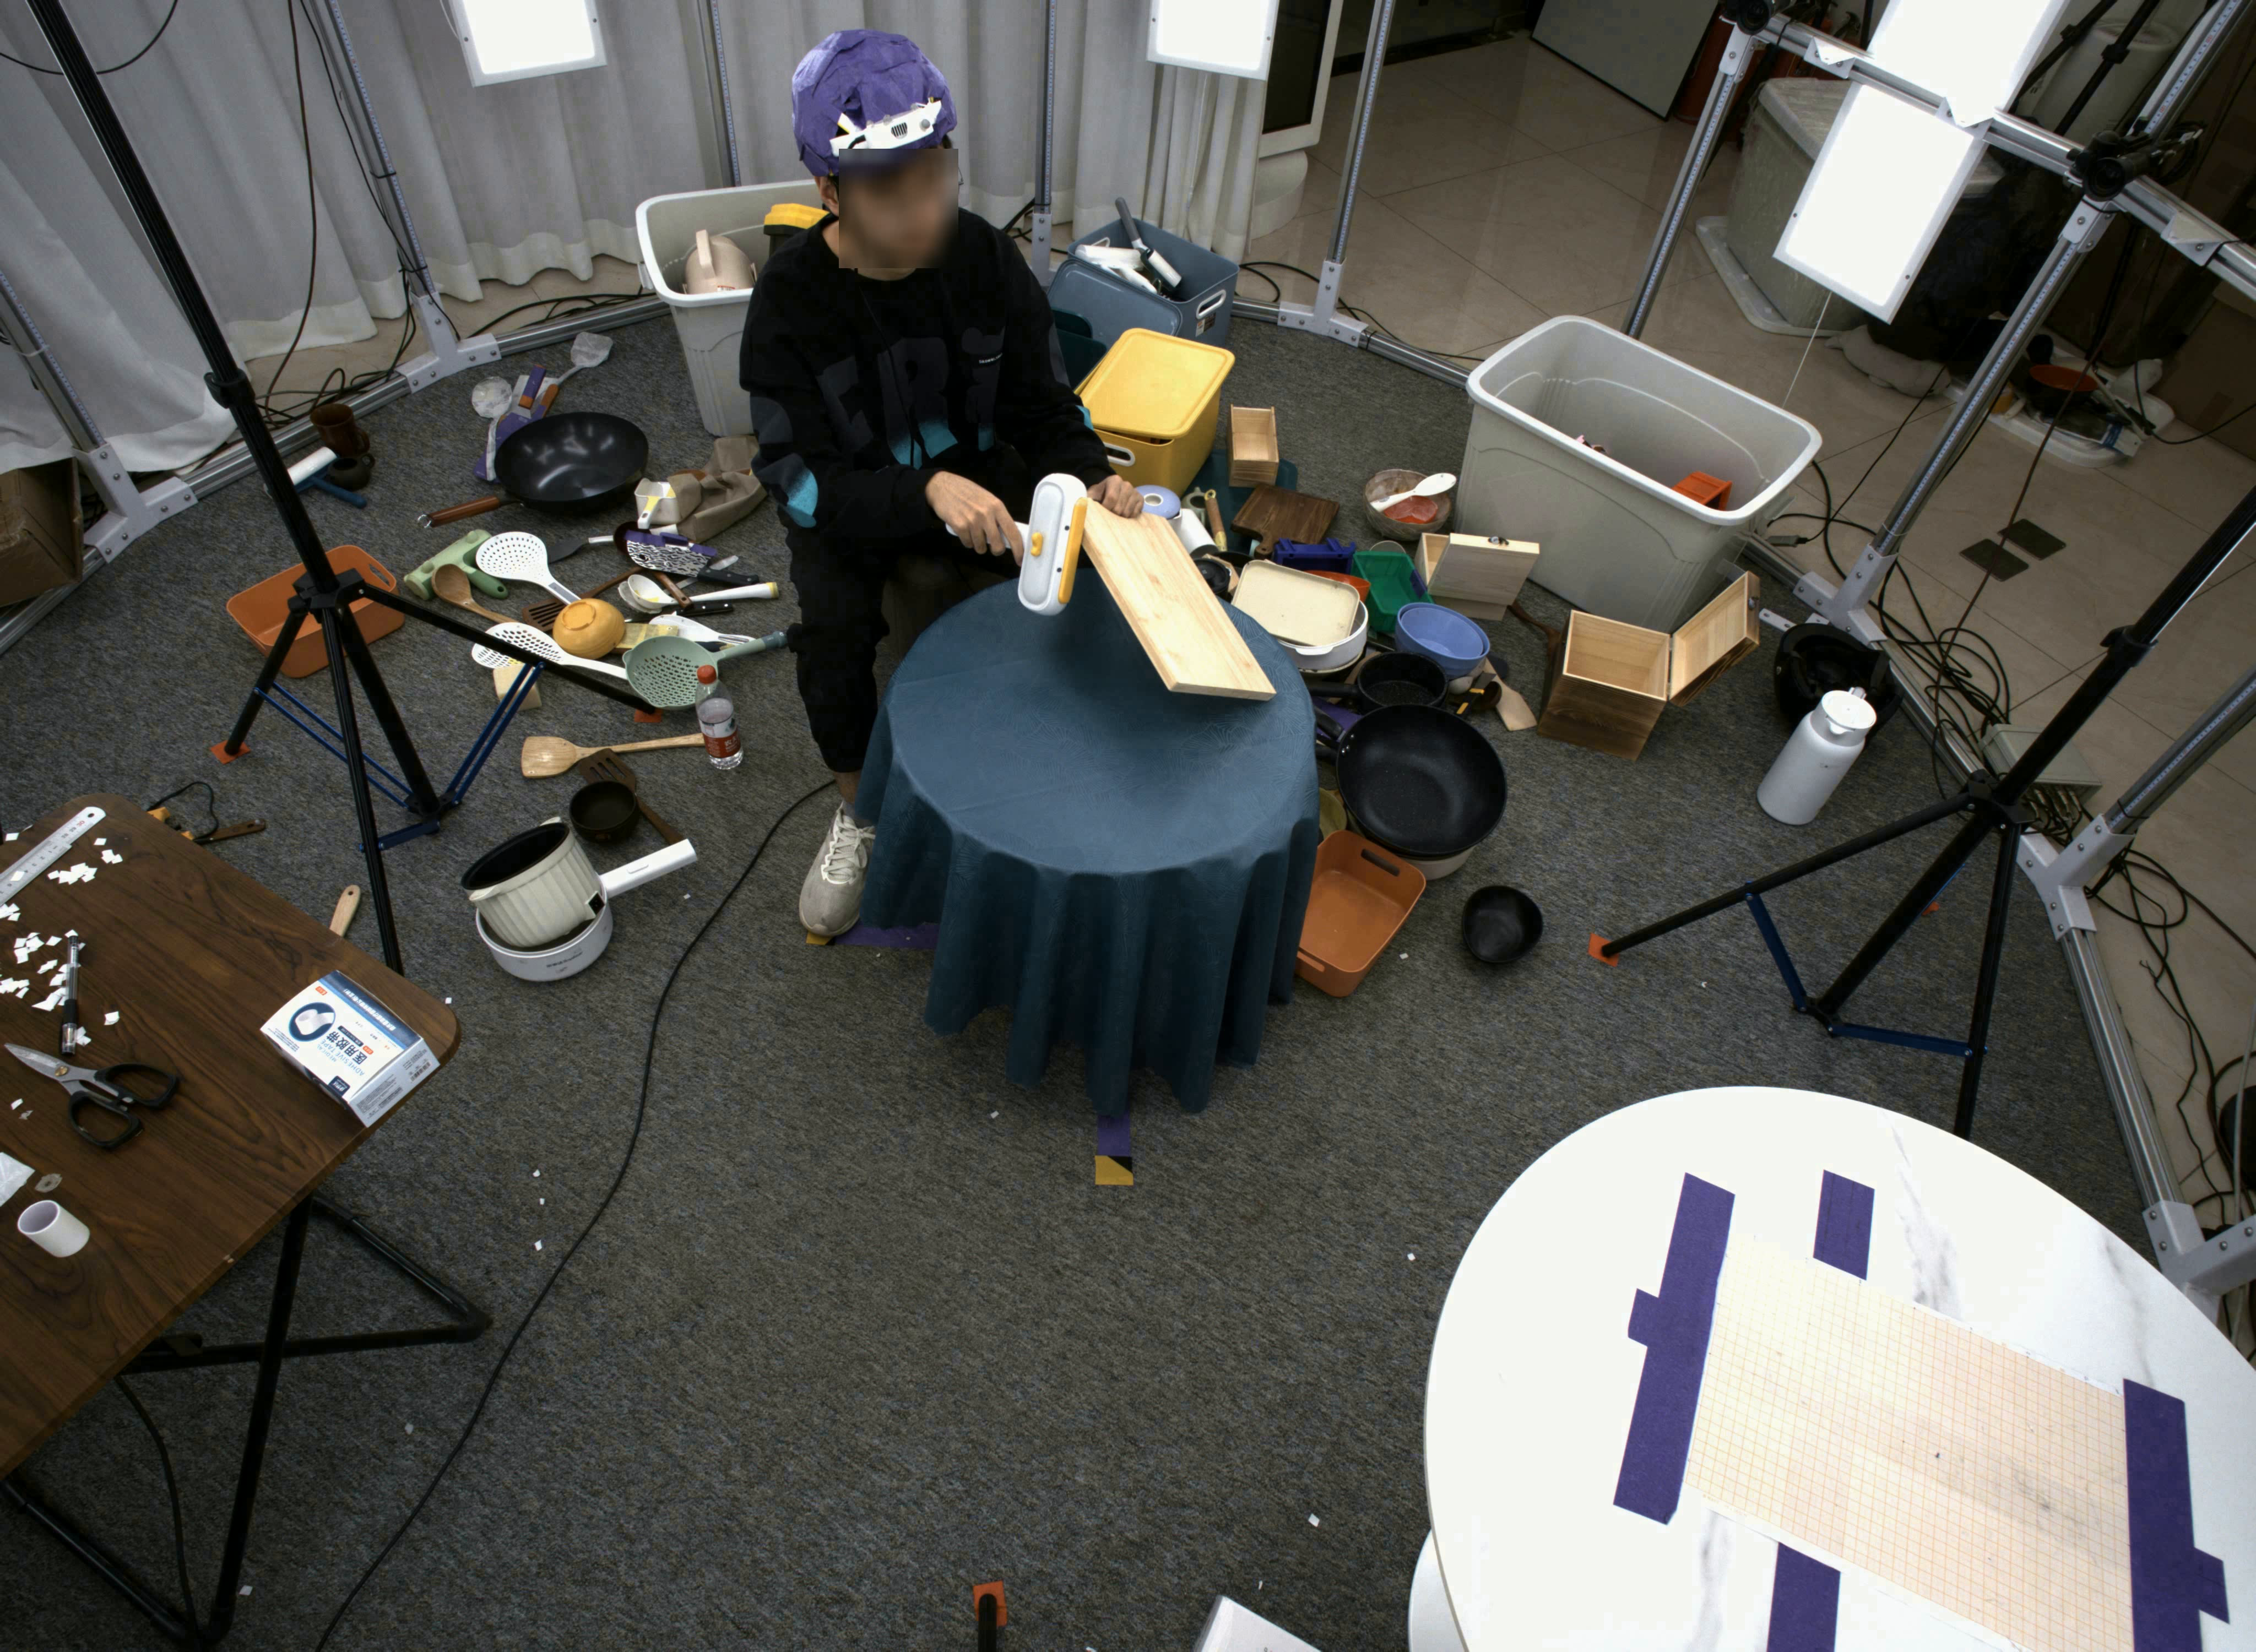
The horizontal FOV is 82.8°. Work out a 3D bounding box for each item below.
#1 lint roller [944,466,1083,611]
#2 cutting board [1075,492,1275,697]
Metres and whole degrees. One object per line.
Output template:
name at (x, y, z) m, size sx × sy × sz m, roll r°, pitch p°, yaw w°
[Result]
lint roller at (-0.158, -0.401, 1.768) m, size 0.194 × 0.190 × 0.075 m, roll 15°, pitch 23°, yaw 23°
cutting board at (0.051, -0.326, 1.811) m, size 0.249 × 0.023 × 0.354 m, roll -1°, pitch 55°, yaw -51°
